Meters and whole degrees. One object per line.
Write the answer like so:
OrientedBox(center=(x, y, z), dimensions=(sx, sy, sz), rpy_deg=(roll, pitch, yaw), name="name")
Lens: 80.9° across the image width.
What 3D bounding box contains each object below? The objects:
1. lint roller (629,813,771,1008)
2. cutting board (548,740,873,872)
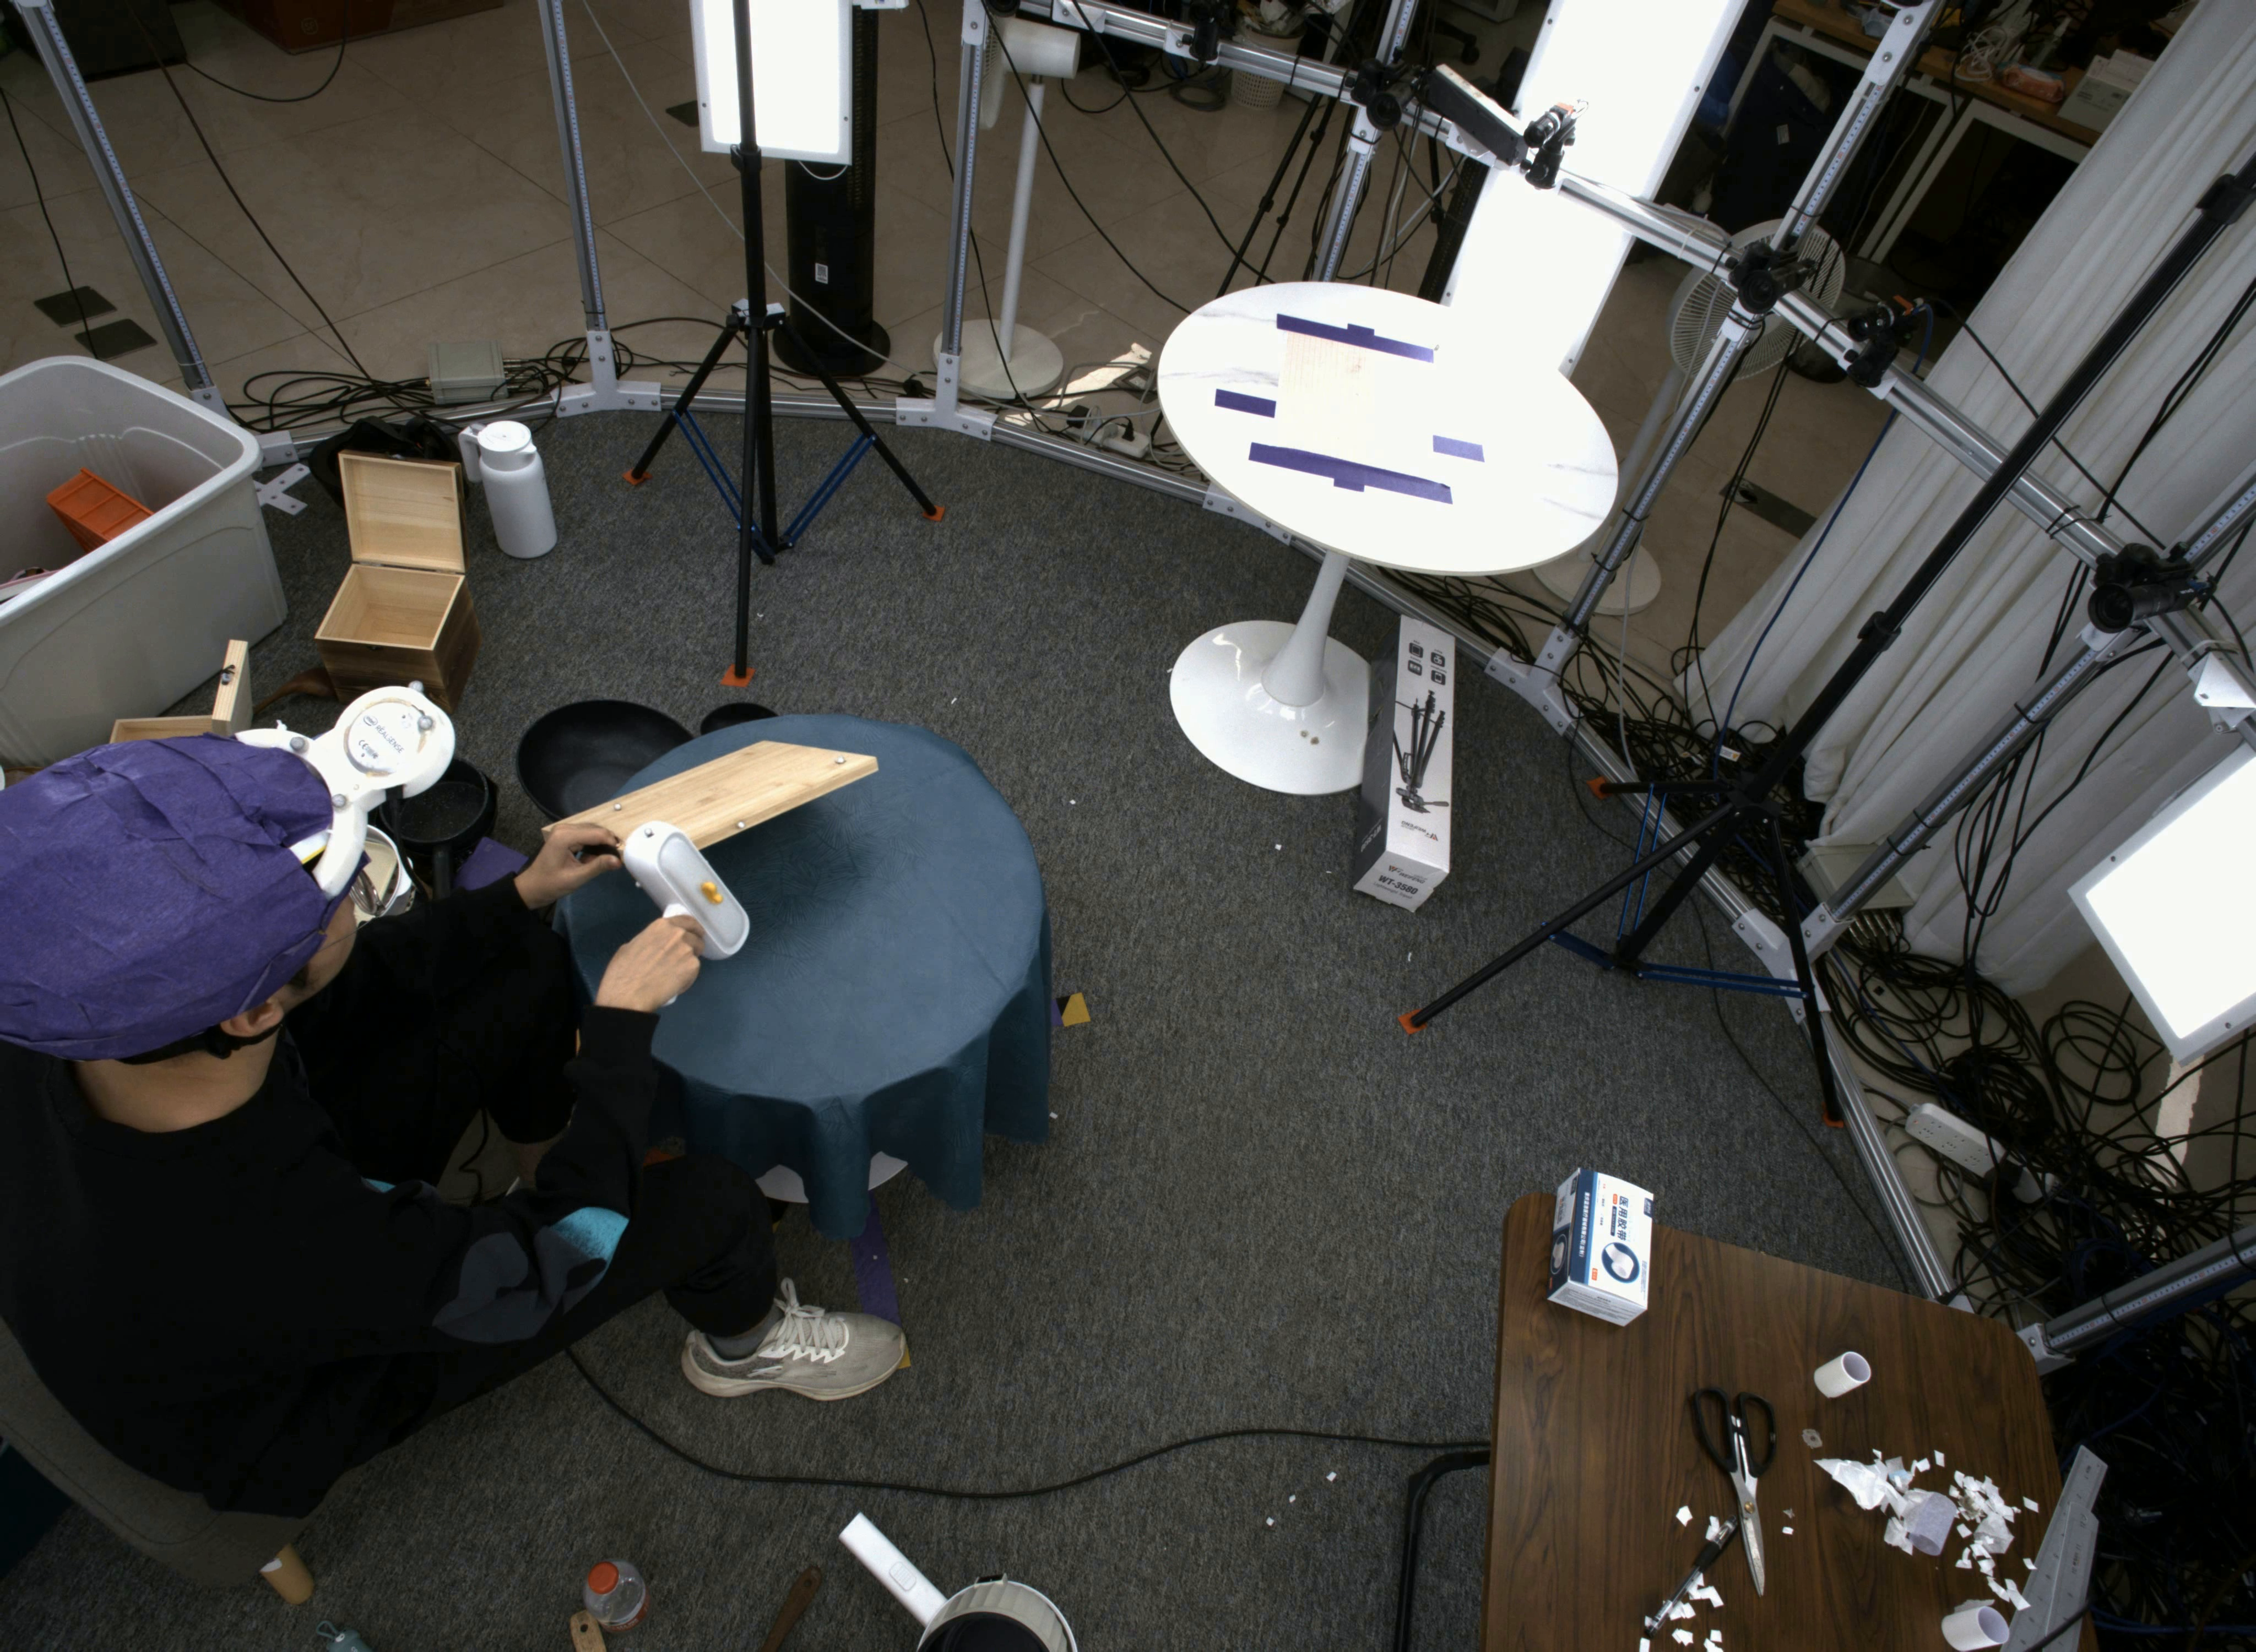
OrientedBox(center=(-0.472, 0.106, 1.403), dimensions=(0.072, 0.200, 0.190), rpy_deg=(-7, 57, 21), name="lint roller")
OrientedBox(center=(-0.518, -0.034, 1.591), dimensions=(0.242, 0.024, 0.350), rpy_deg=(8, 26, 37), name="cutting board")
